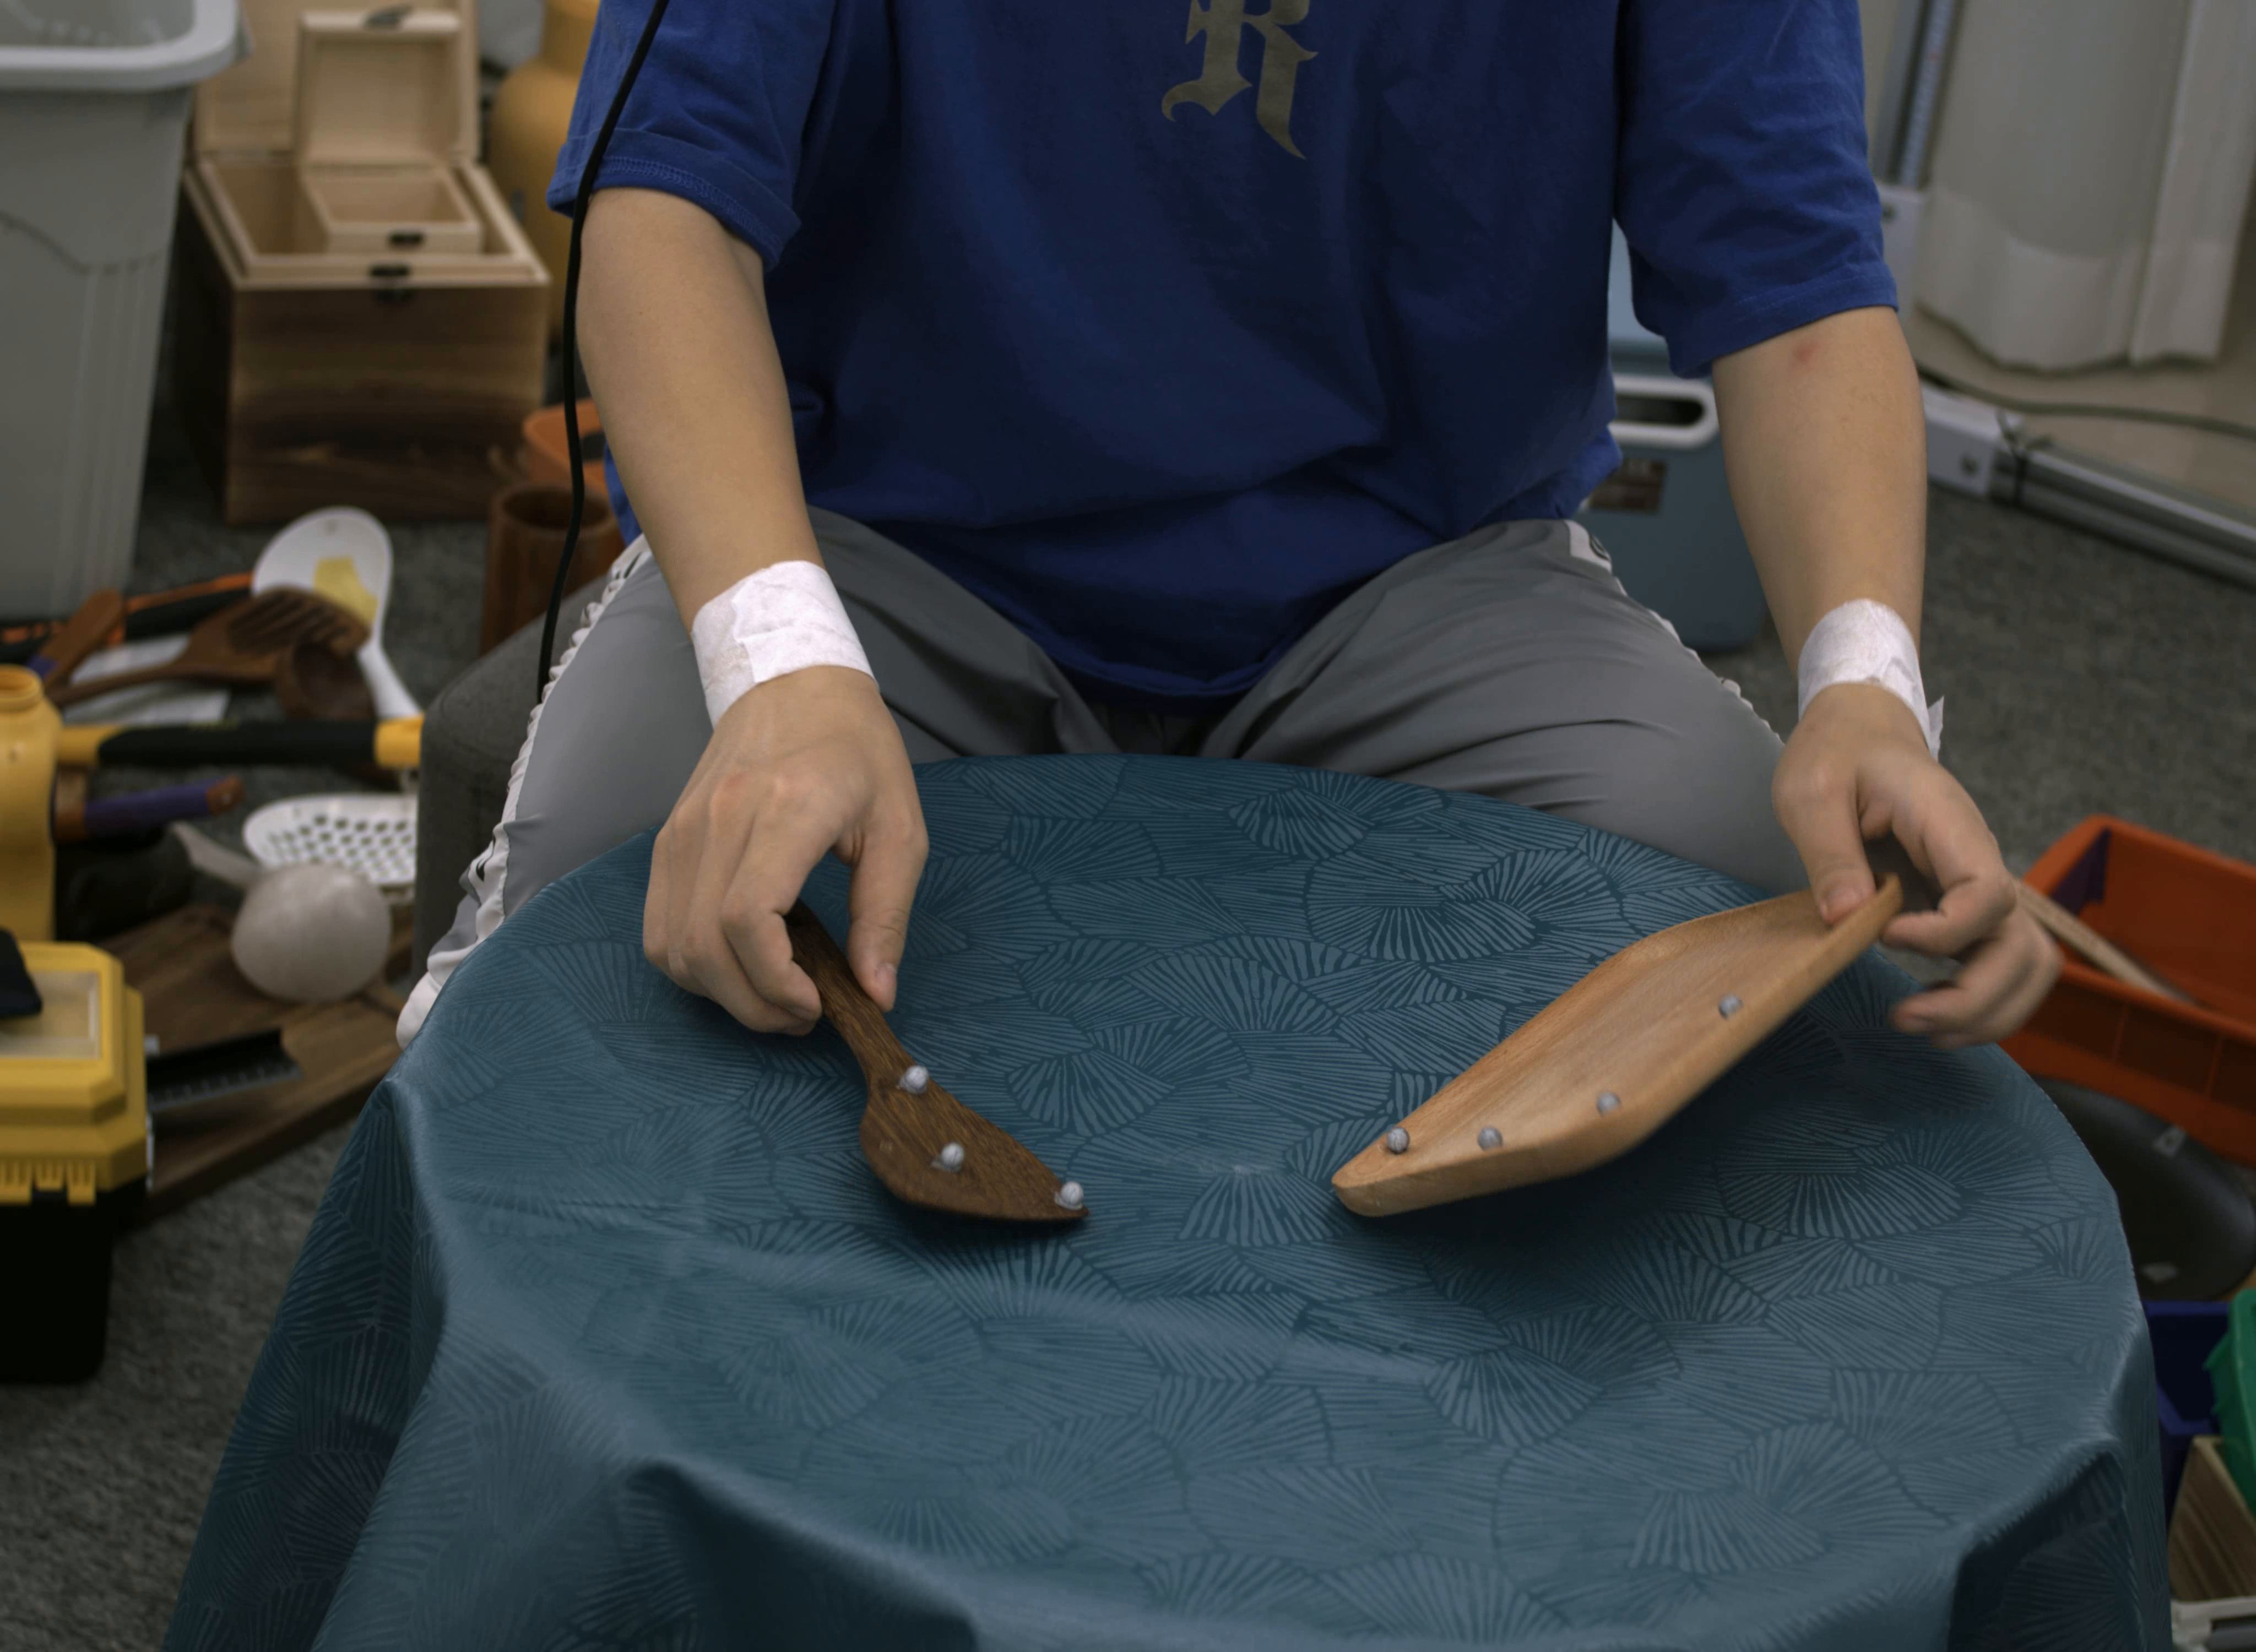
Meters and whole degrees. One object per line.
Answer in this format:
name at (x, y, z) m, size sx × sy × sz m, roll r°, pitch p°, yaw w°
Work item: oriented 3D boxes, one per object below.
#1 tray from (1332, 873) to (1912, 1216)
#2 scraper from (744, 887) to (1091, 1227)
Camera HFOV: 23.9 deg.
tray at (0.176, 0.075, 1.854) m, size 0.131 × 0.023 × 0.250 m, roll -11°, pitch 13°, yaw 38°
scraper at (-0.084, 0.079, 1.835) m, size 0.075 × 0.011 × 0.213 m, roll 5°, pitch 29°, yaw -32°
